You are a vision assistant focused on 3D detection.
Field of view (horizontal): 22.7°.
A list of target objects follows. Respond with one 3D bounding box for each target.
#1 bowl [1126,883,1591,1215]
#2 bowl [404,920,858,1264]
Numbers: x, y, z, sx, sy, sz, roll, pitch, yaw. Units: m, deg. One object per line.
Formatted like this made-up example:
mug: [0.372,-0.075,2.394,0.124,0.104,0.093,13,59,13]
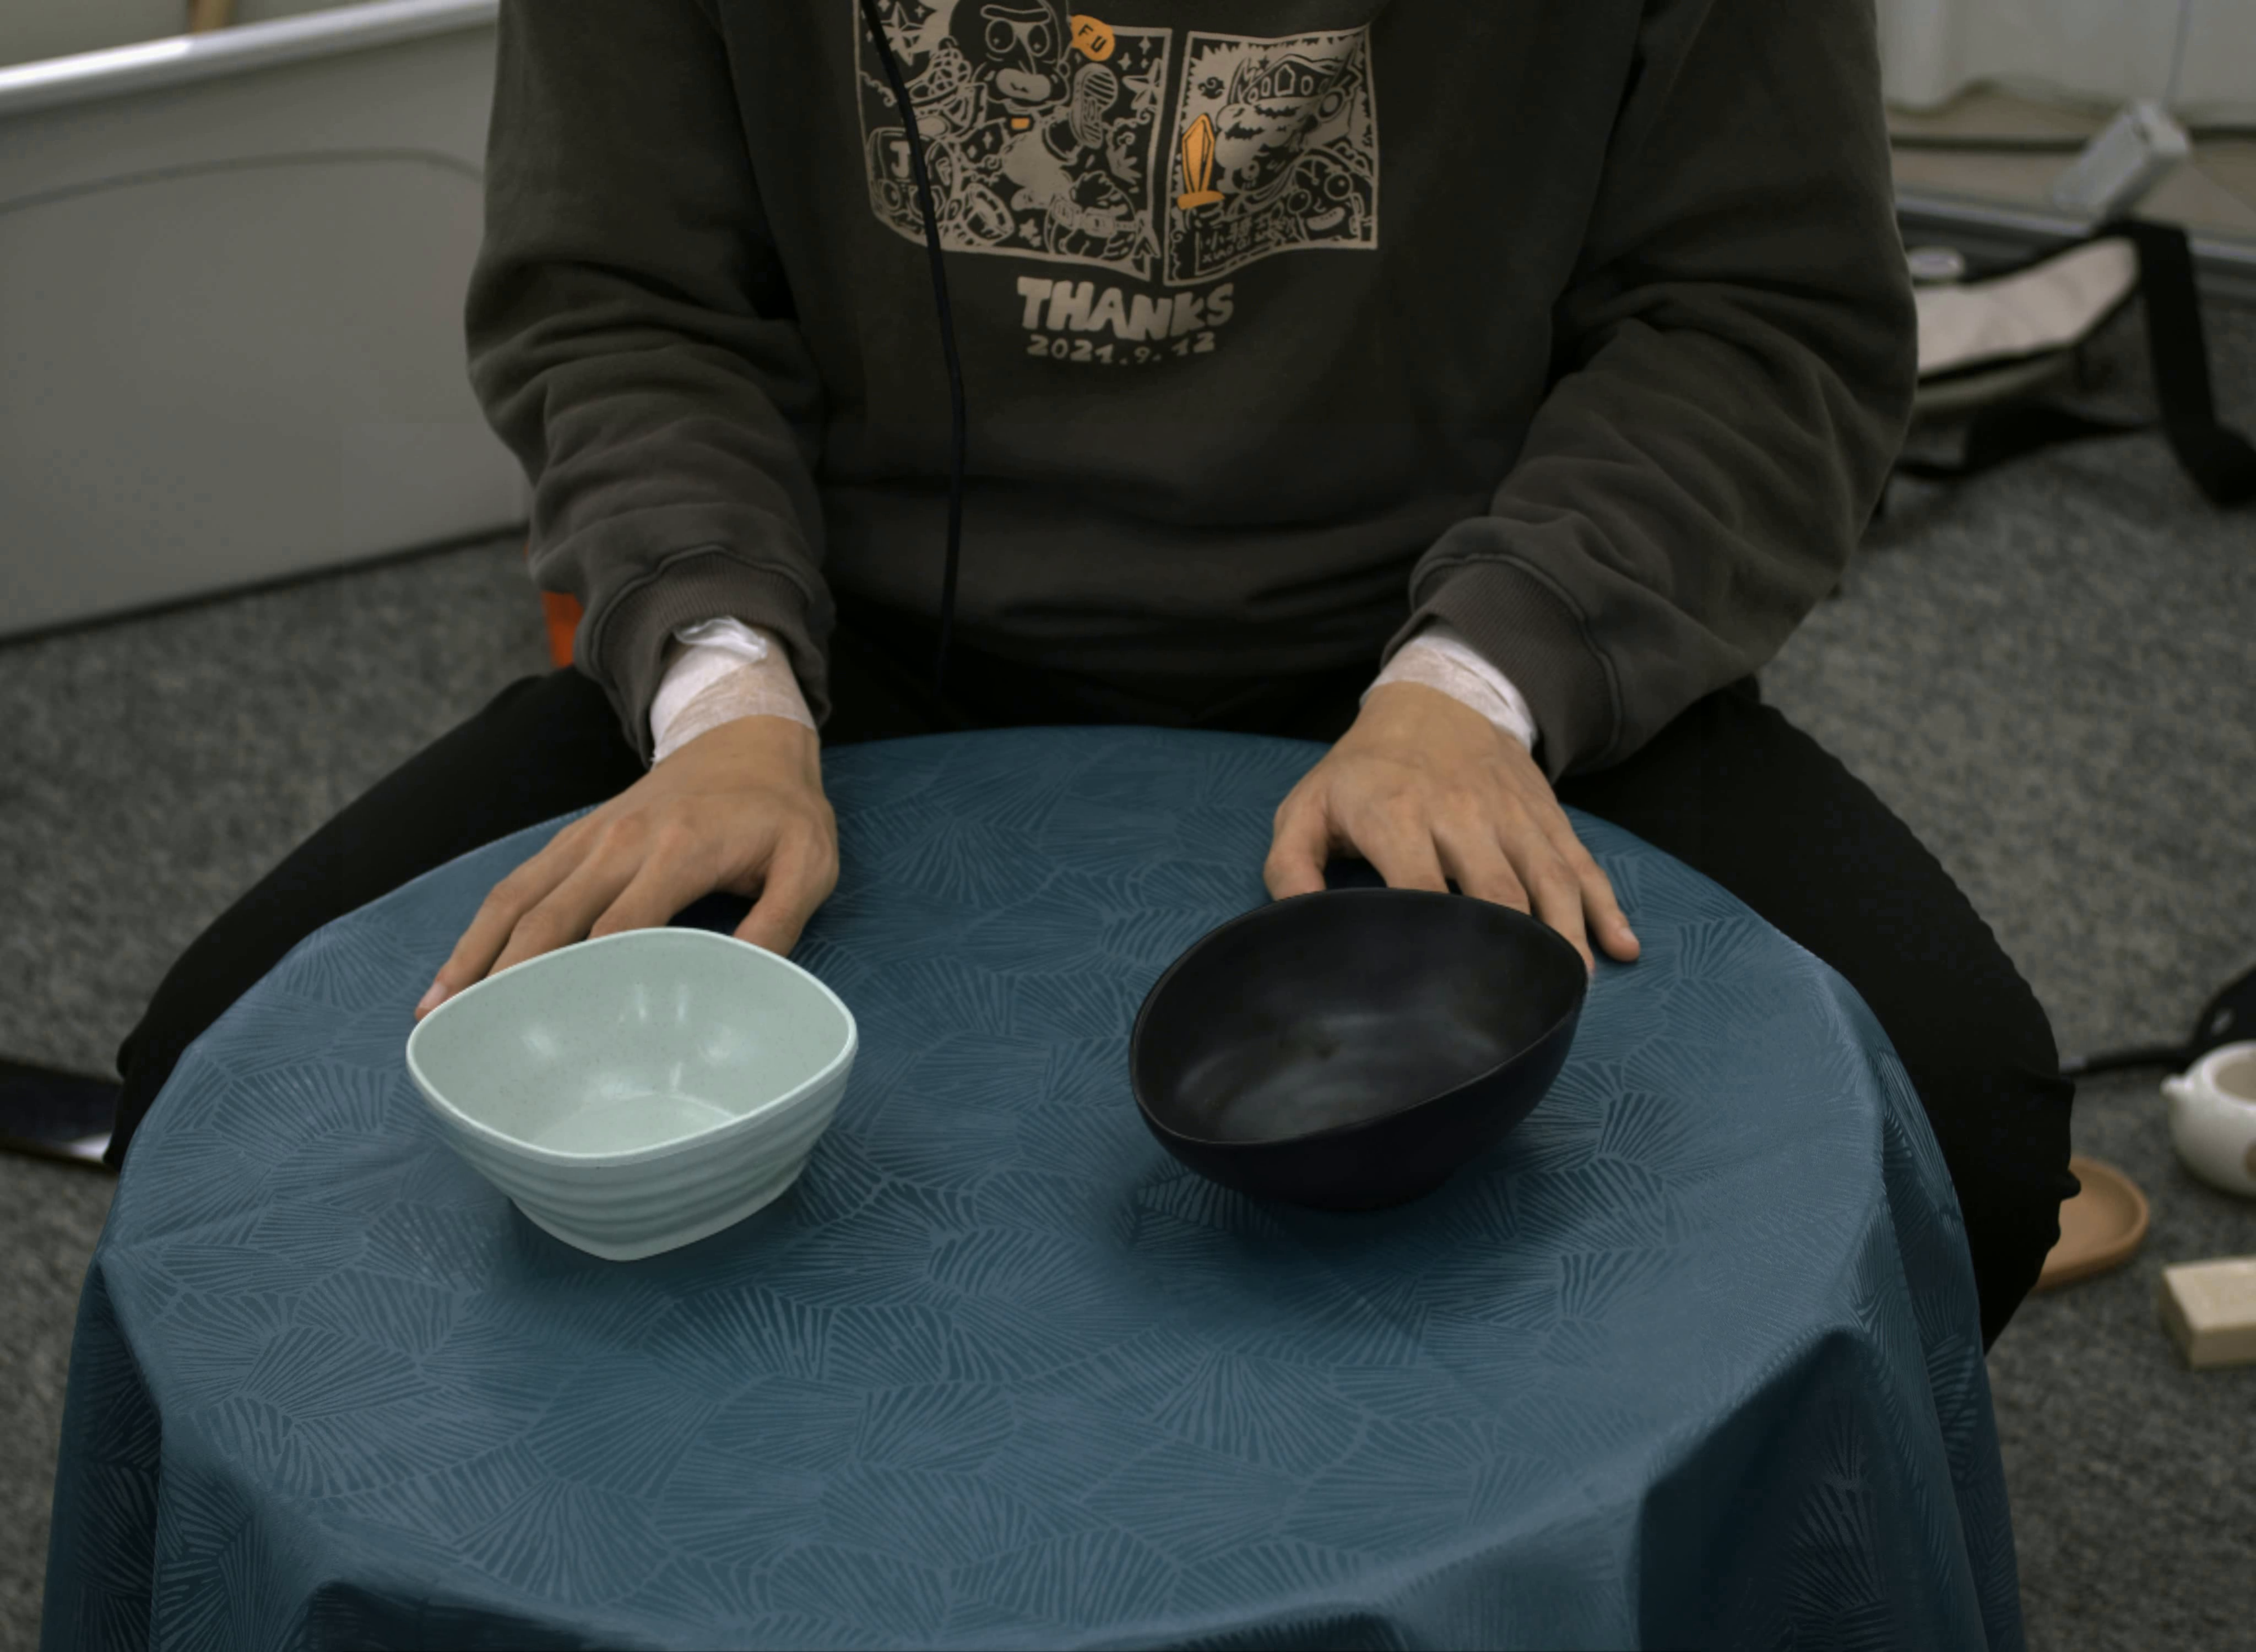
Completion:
bowl: [0.077,0.084,1.858,0.137,0.066,0.172,22,38,39]
bowl: [-0.163,0.095,1.867,0.151,0.058,0.154,-1,29,1]
